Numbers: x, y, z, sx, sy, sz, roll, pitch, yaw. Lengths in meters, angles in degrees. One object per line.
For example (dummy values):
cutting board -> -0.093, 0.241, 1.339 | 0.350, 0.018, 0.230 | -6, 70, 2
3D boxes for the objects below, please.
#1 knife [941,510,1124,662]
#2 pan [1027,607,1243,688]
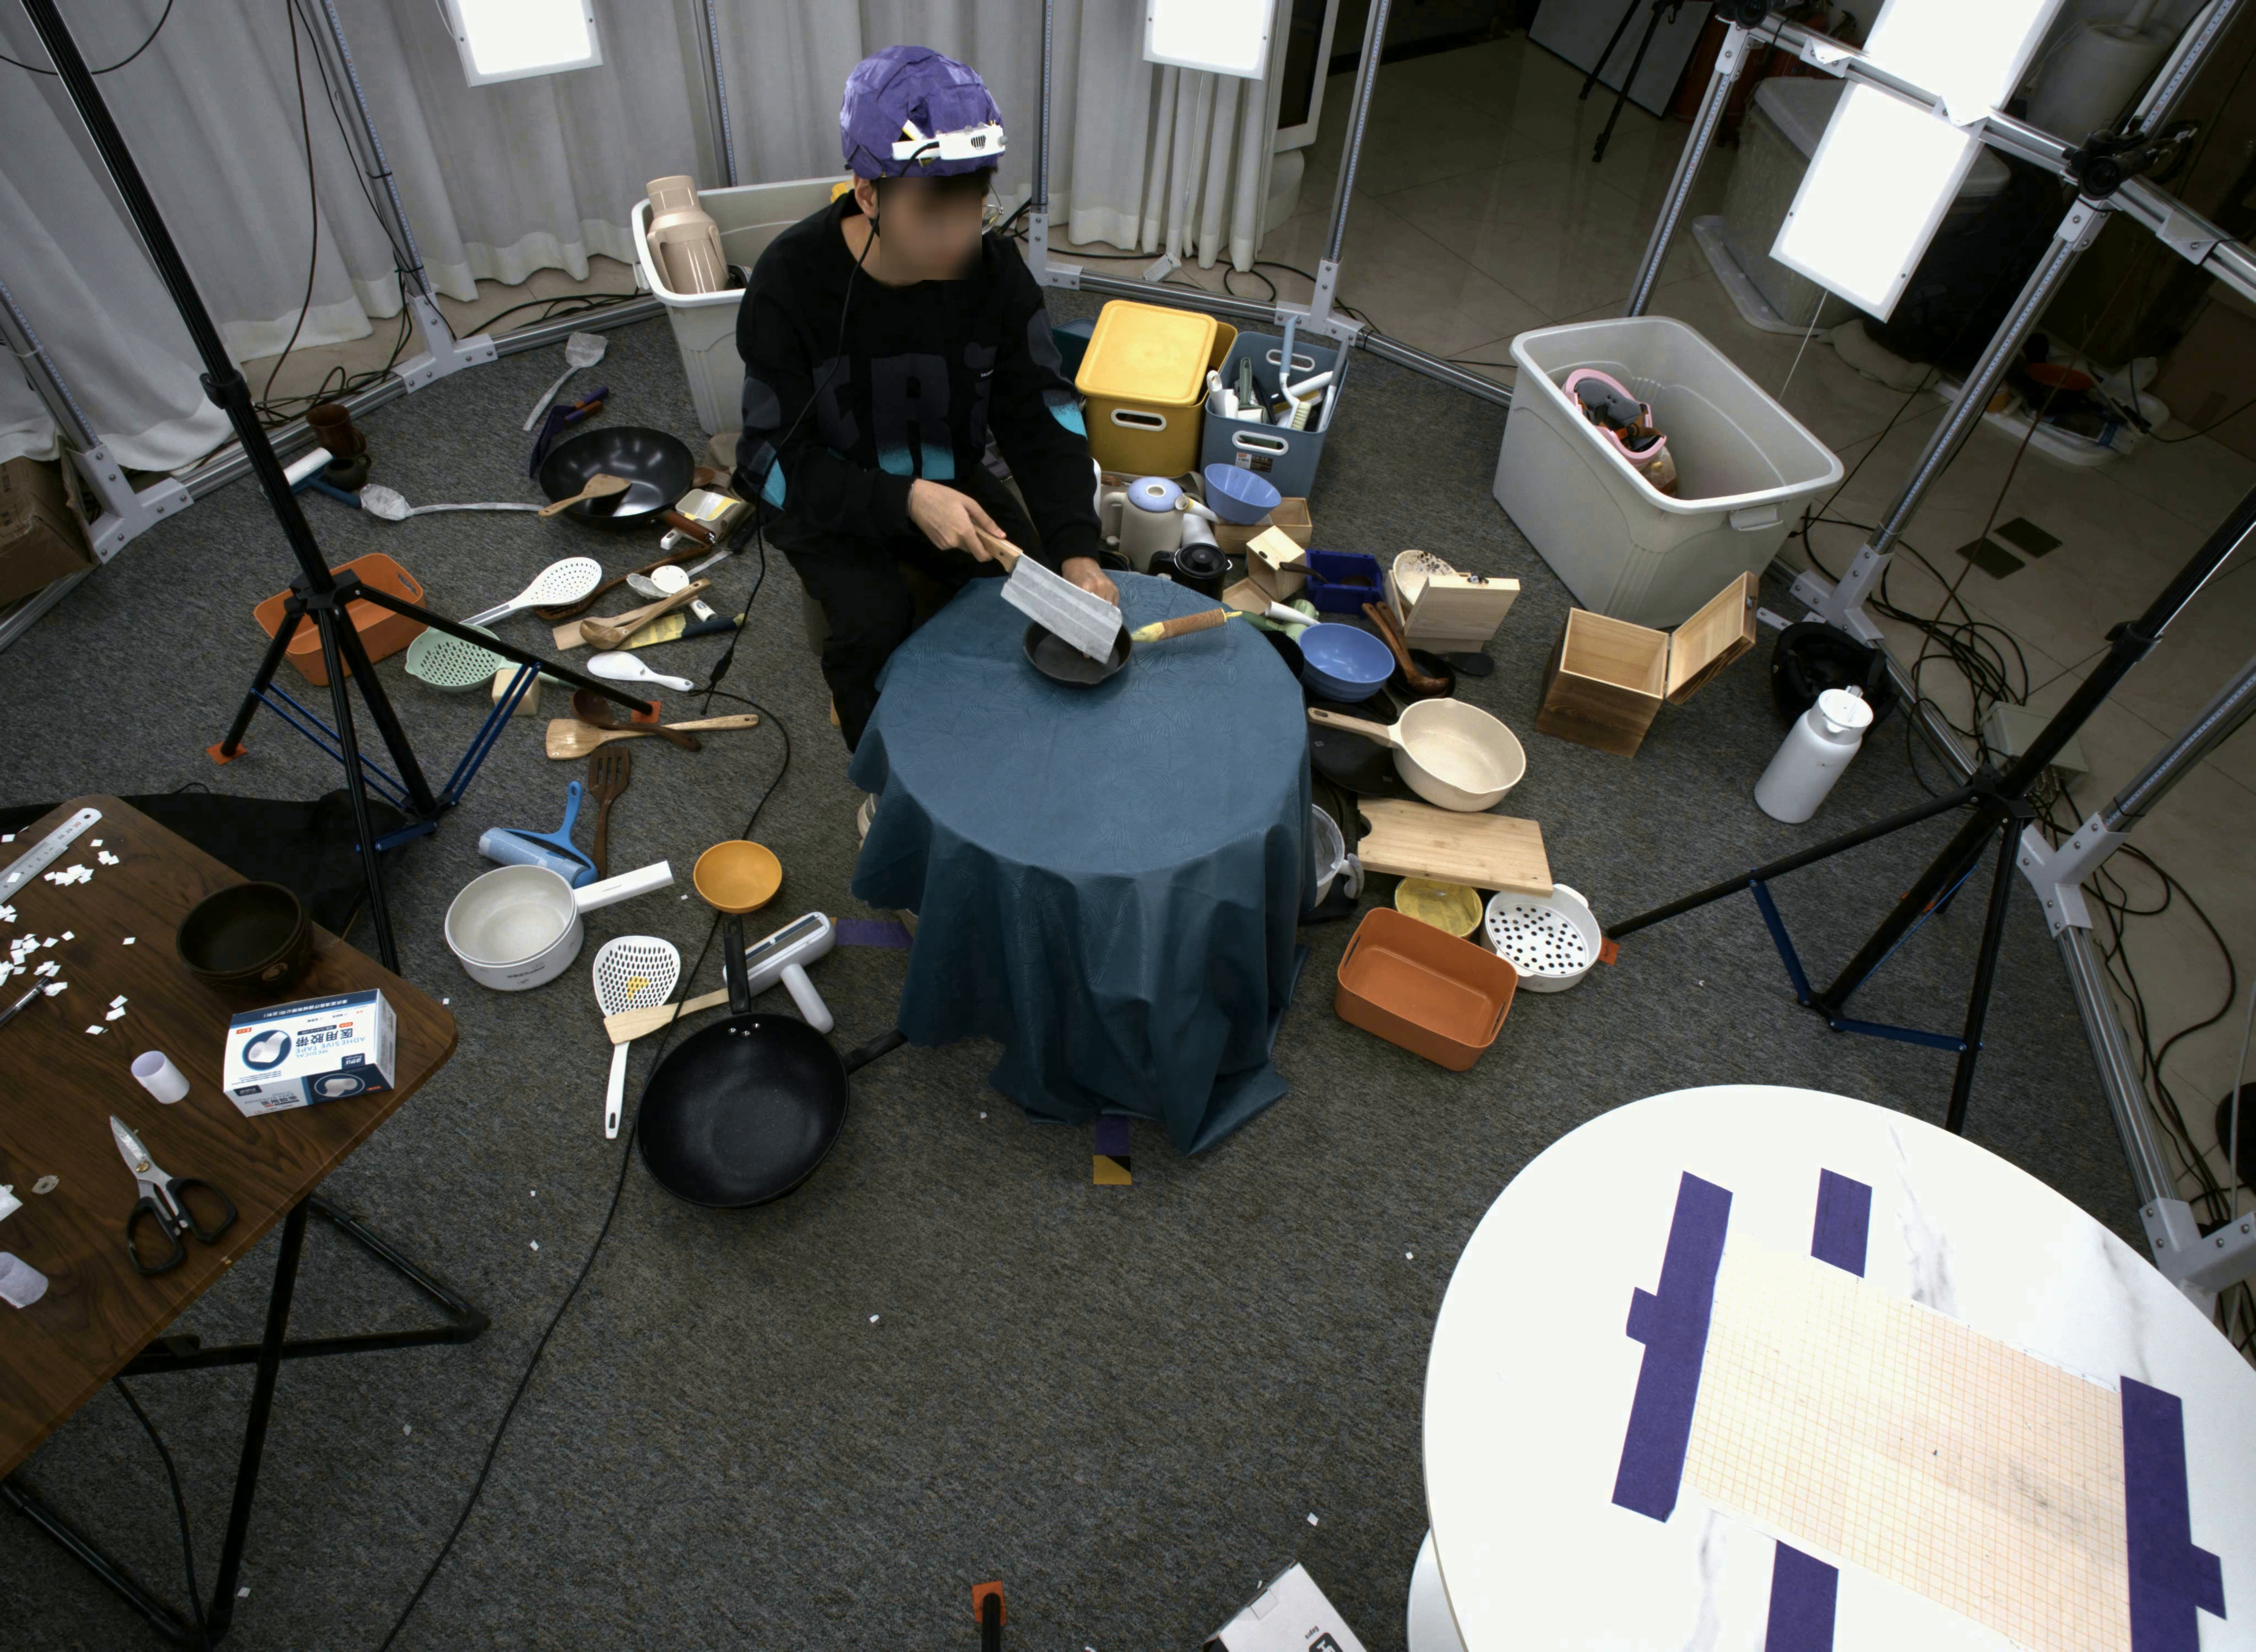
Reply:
knife -> -0.137, -0.352, 1.844 | 0.316, 0.112, 0.022 | 36, 44, 4
pan -> 0.013, -0.274, 1.876 | 0.324, 0.048, 0.173 | -11, 50, -12
